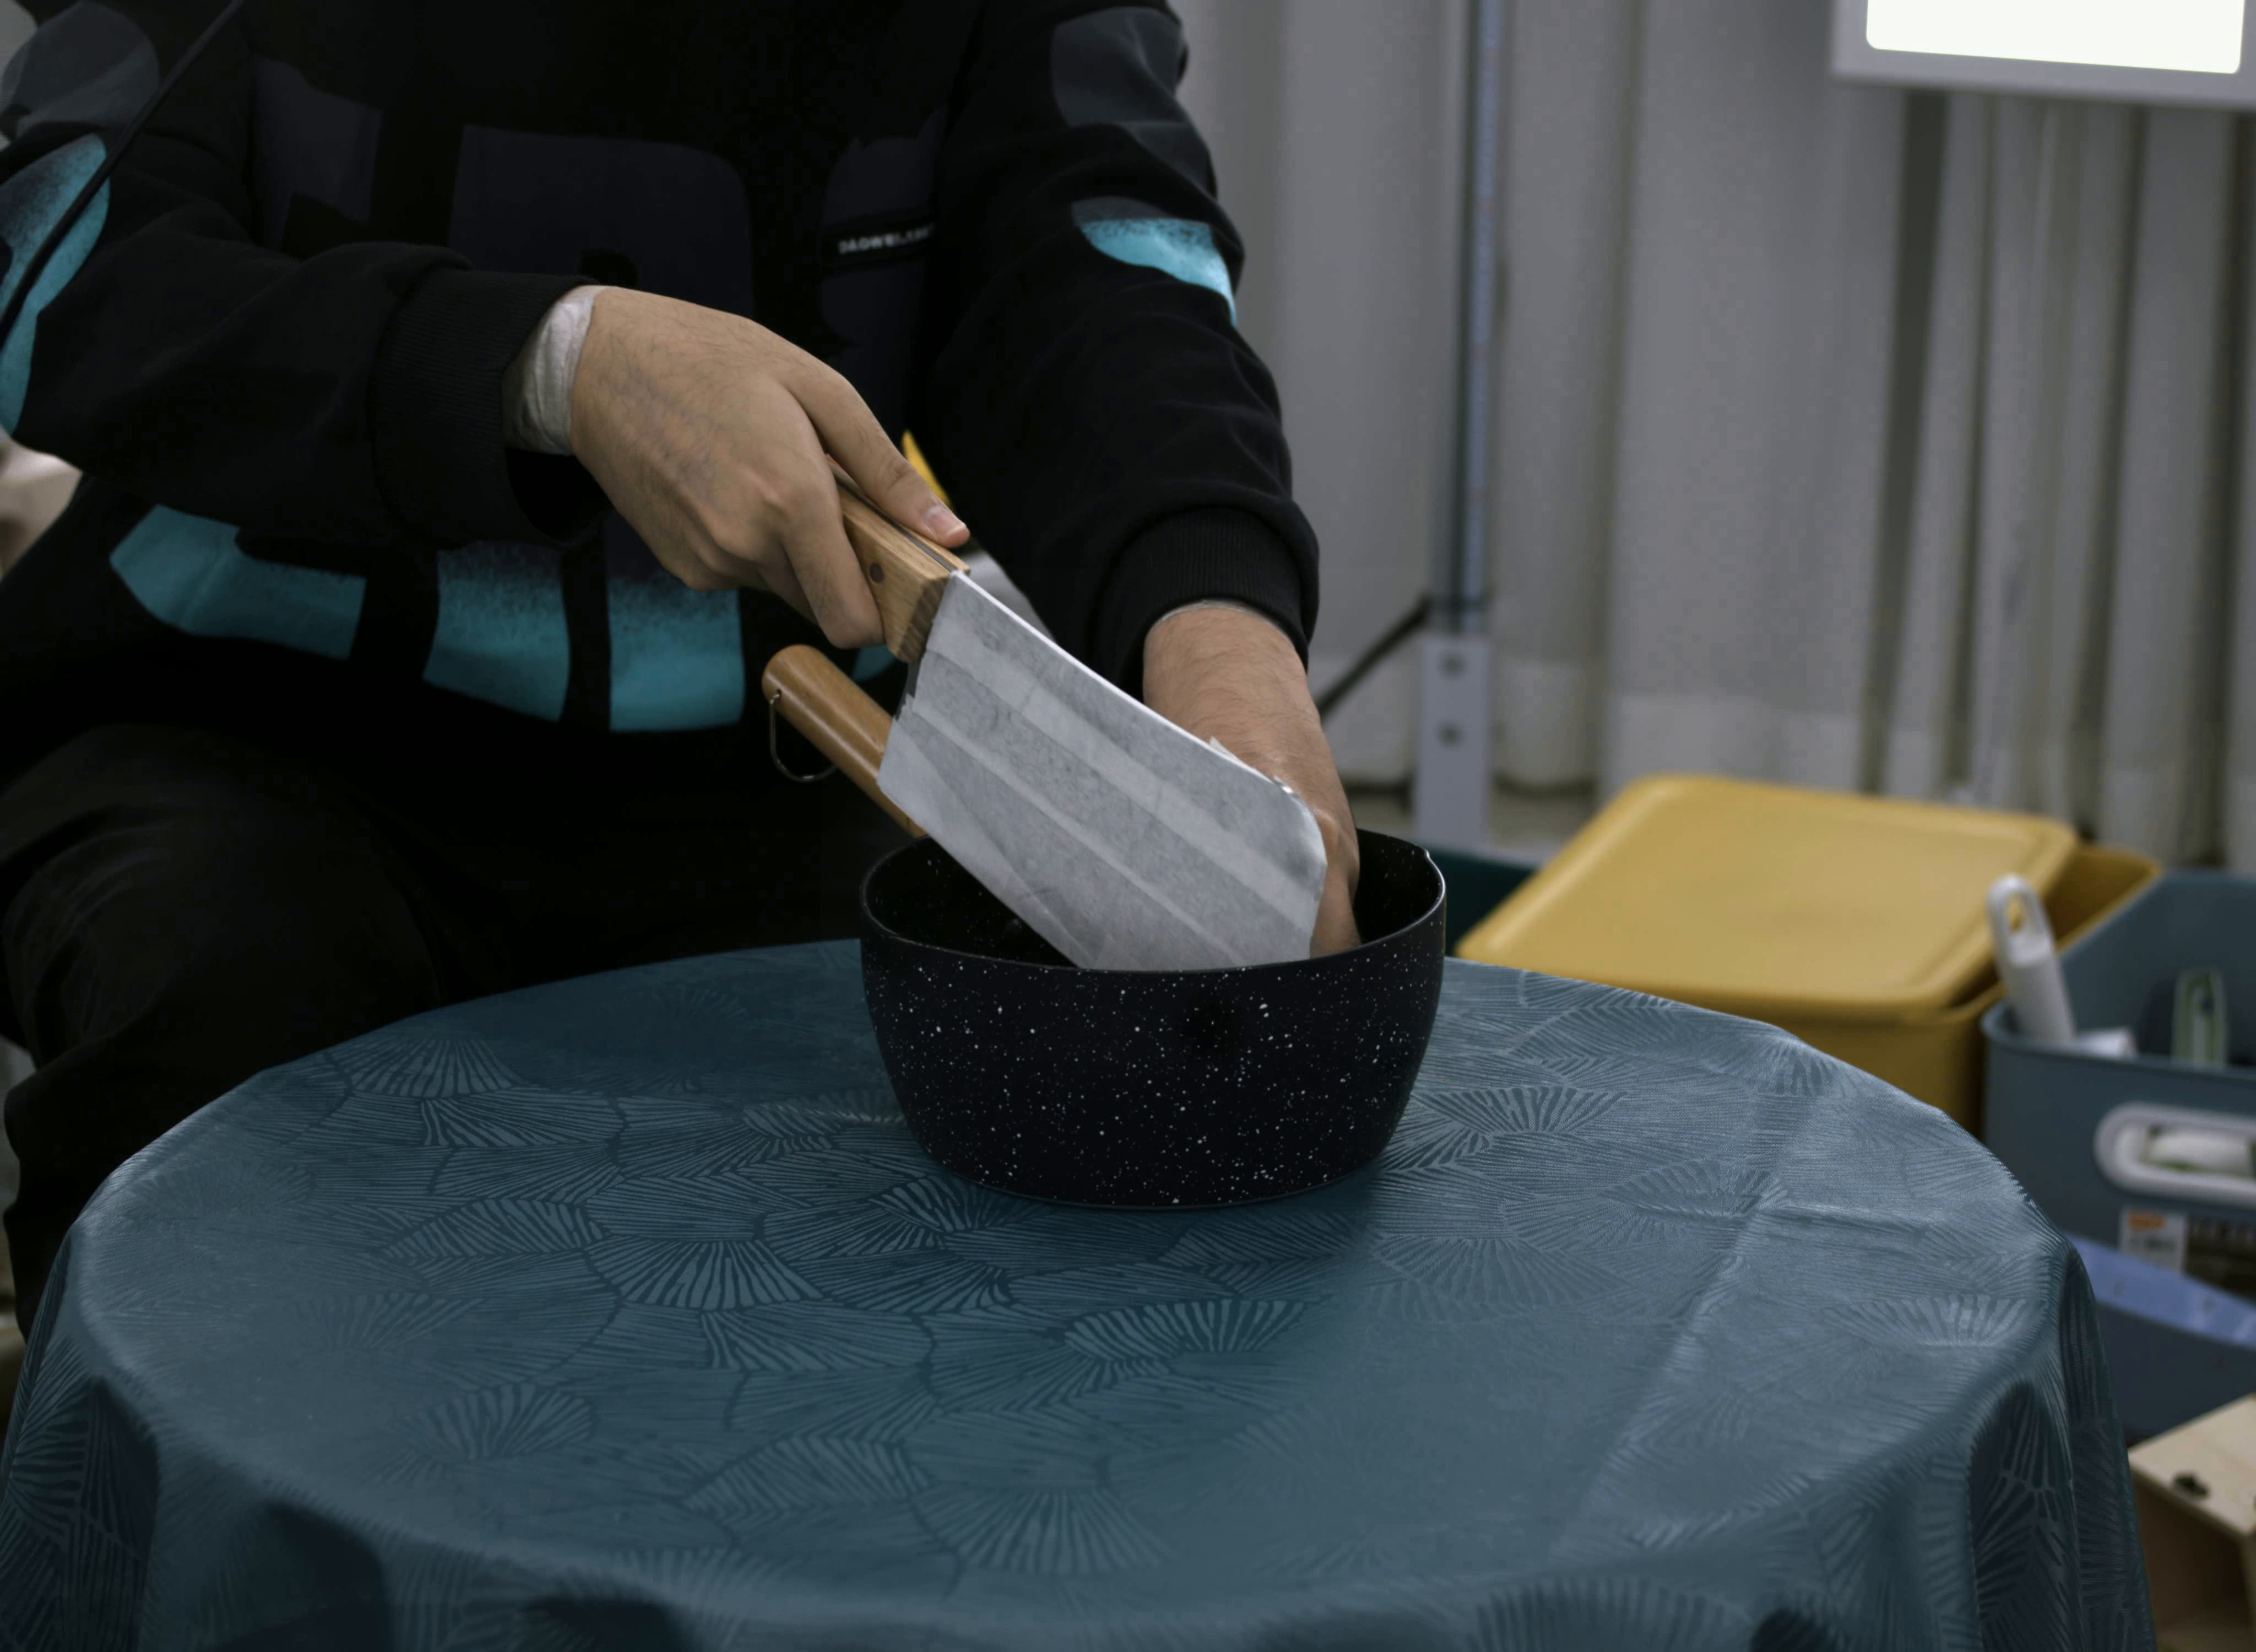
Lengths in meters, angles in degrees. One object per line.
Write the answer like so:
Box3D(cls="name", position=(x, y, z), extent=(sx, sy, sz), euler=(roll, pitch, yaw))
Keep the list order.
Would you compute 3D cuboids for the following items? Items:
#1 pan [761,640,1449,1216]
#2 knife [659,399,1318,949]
Box3D(cls="pan", position=(-0.034, 0.028, 1.719), extent=(0.208, 0.109, 0.338), euler=(-11, 20, -31))
Box3D(cls="knife", position=(-0.047, -0.042, 1.666), extent=(0.022, 0.115, 0.311), euler=(-15, 47, -44))
